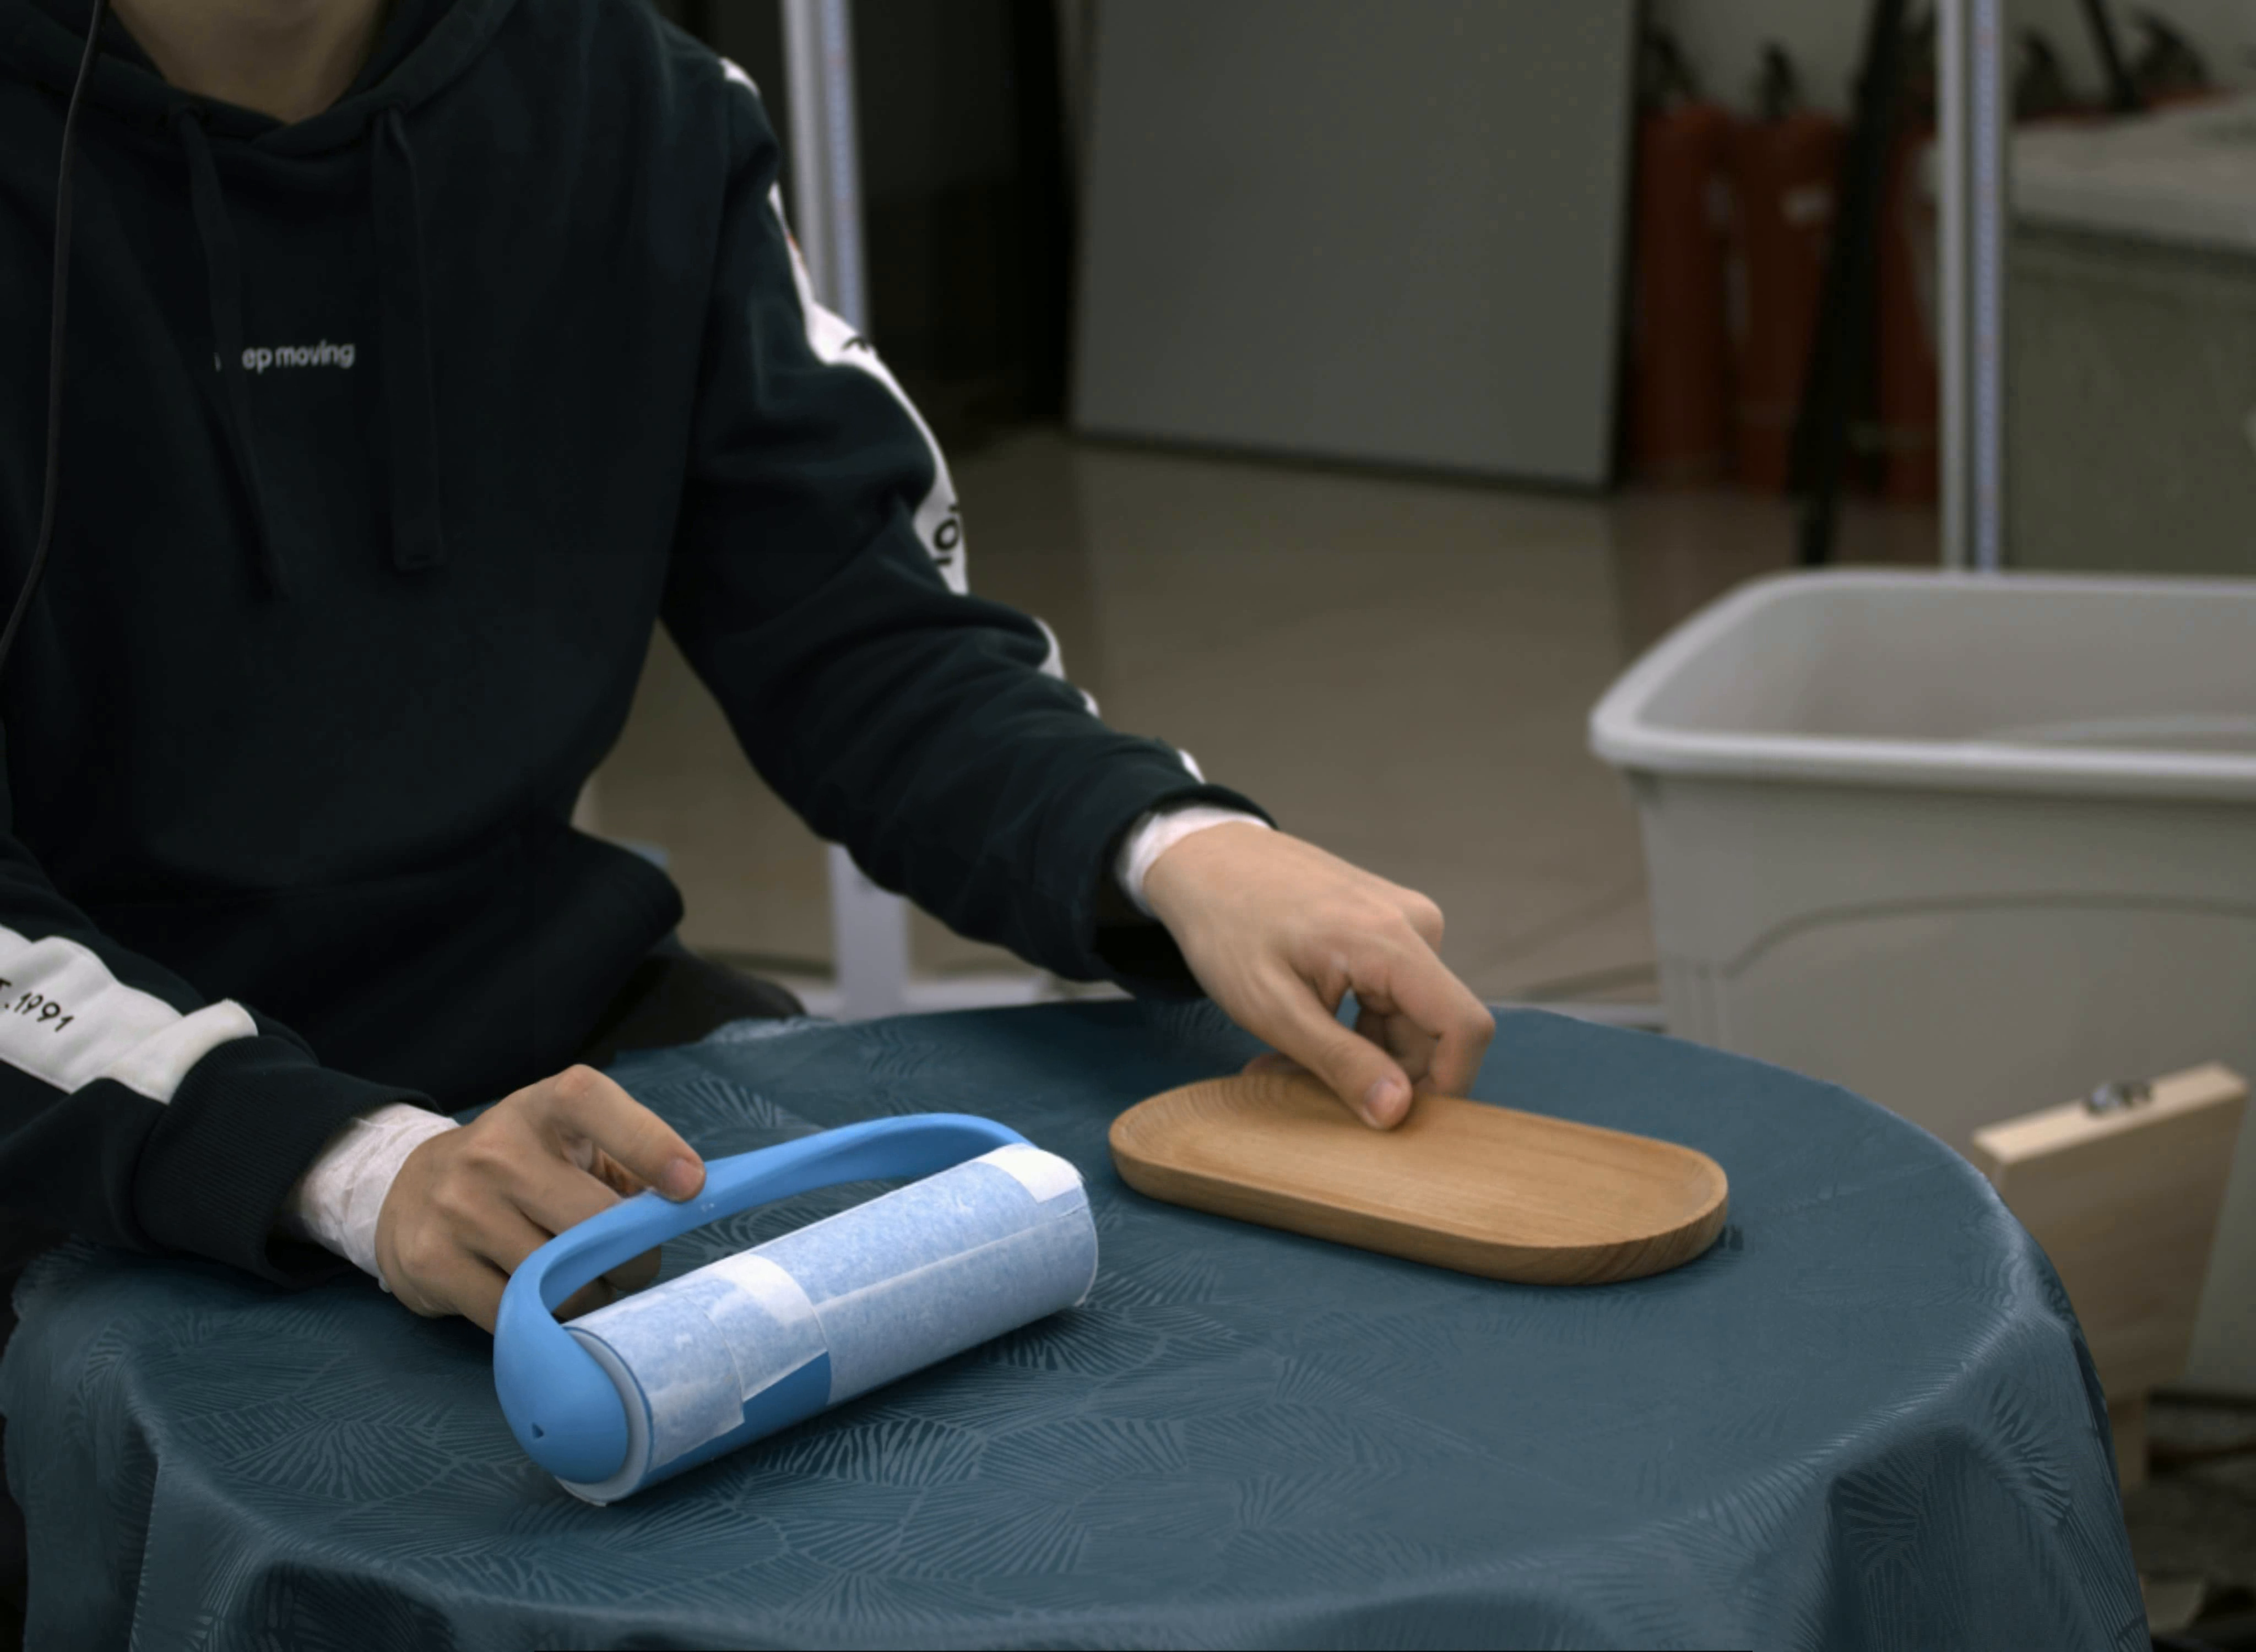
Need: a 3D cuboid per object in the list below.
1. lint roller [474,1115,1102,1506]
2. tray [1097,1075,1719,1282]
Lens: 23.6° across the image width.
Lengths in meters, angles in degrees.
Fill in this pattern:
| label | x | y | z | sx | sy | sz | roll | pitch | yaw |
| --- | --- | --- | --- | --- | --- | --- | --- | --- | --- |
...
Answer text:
| label | x | y | z | sx | sy | sz | roll | pitch | yaw |
| --- | --- | --- | --- | --- | --- | --- | --- | --- | --- |
| lint roller | -0.135 | 0.137 | 1.626 | 0.181 | 0.068 | 0.225 | 8 | 20 | 39 |
| tray | 0.089 | 0.113 | 1.739 | 0.233 | 0.020 | 0.100 | 6 | 20 | 42 |
